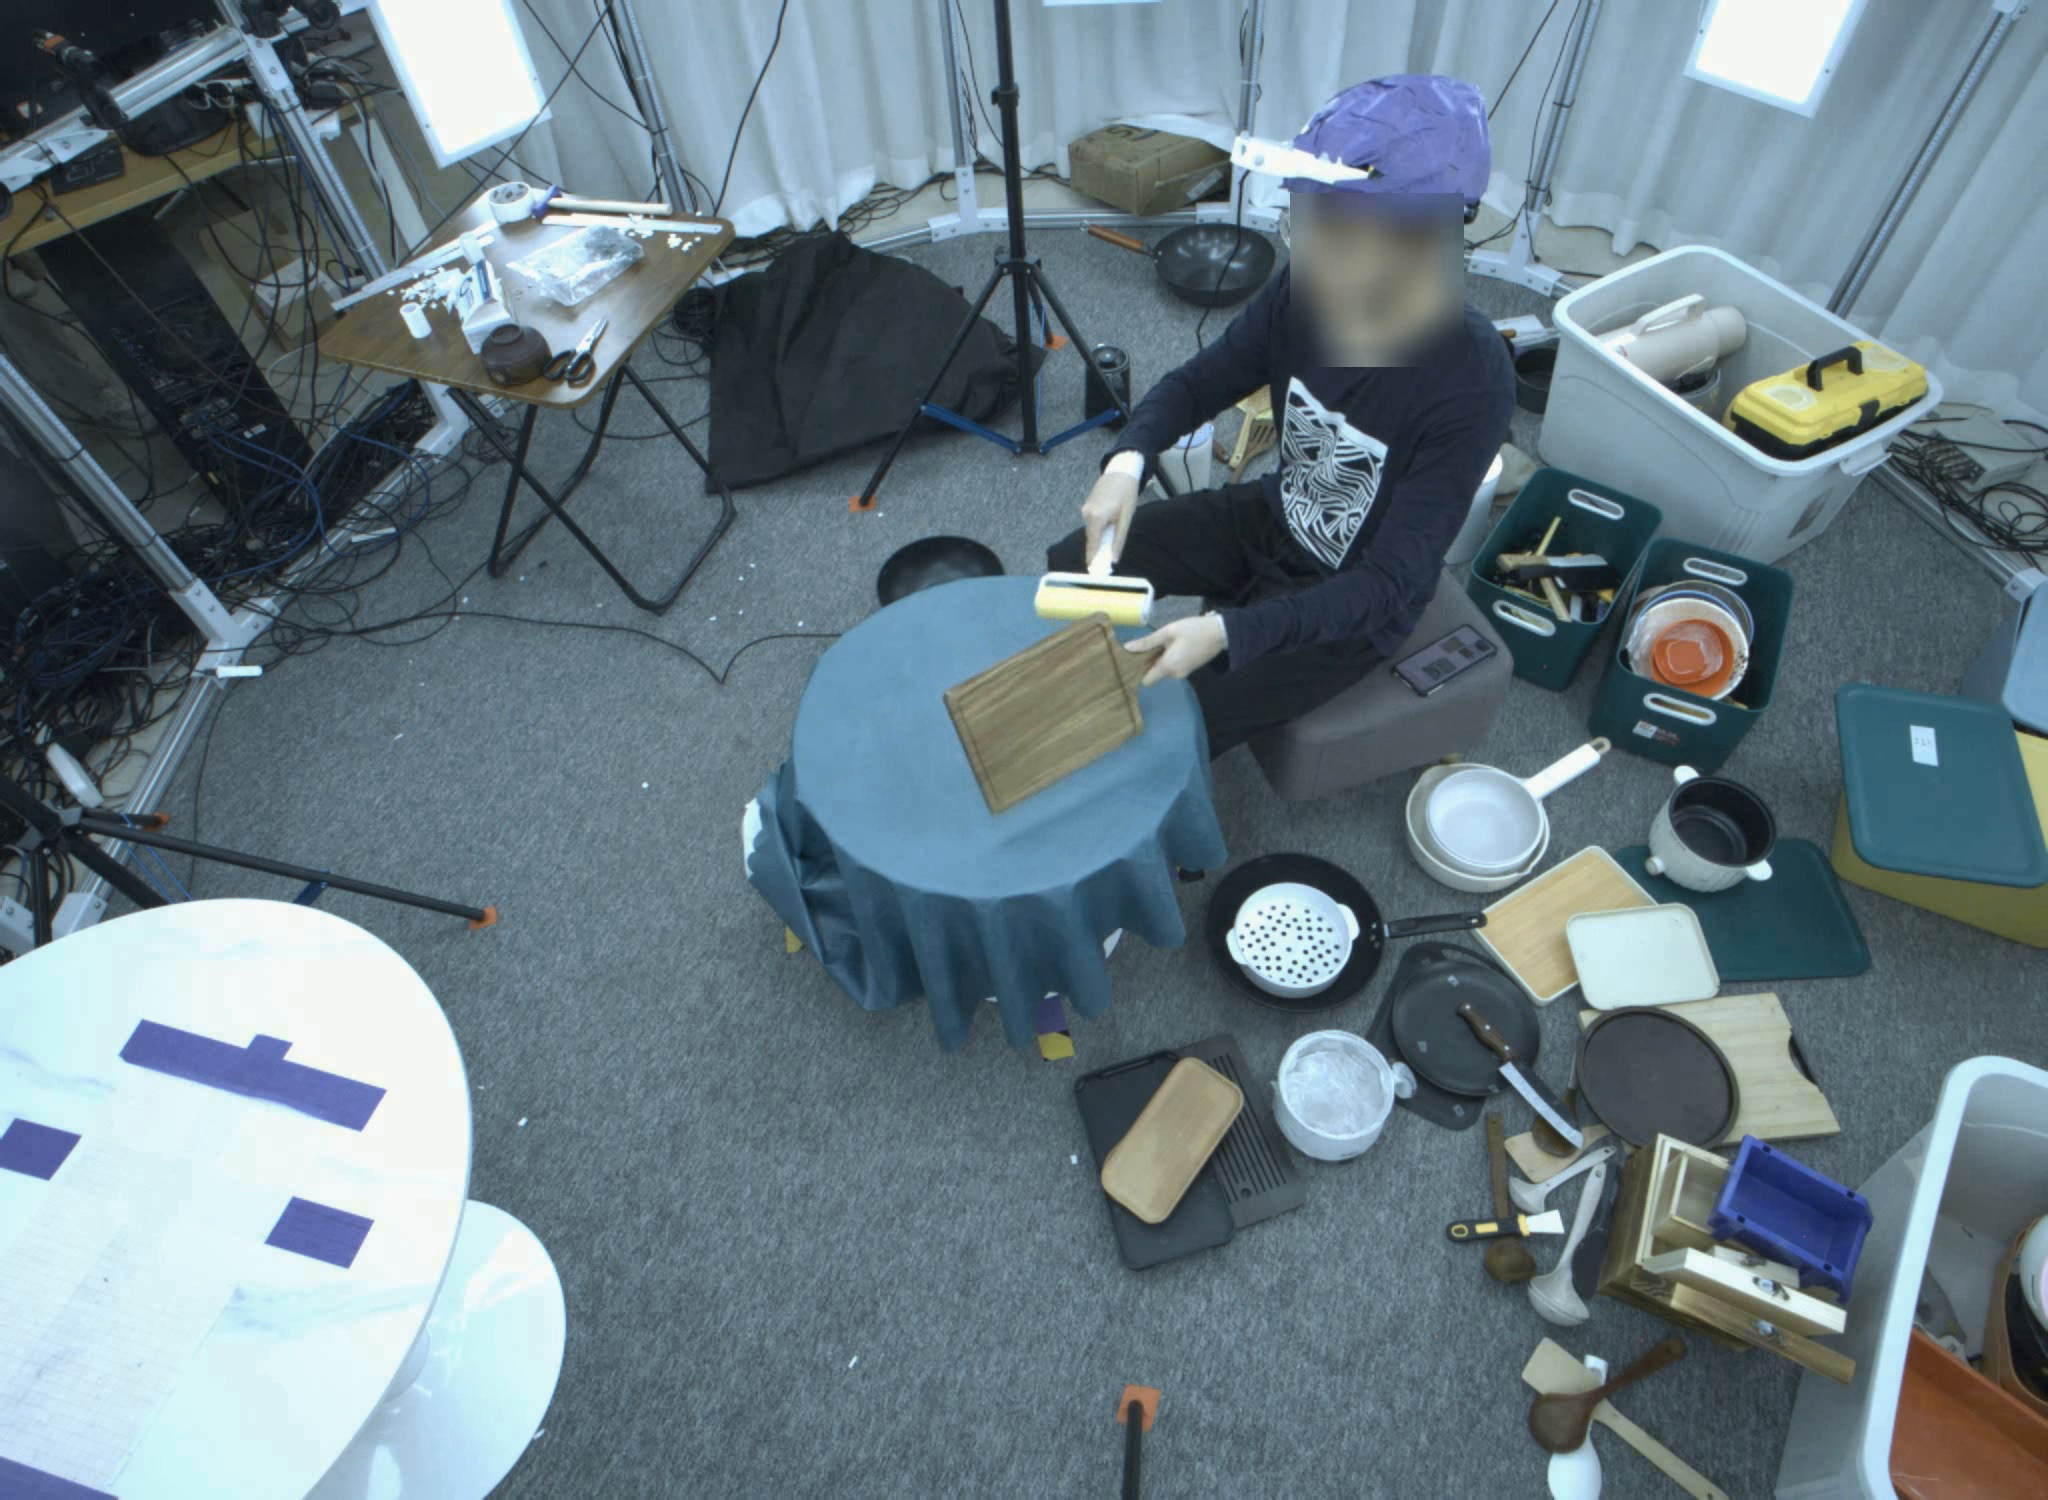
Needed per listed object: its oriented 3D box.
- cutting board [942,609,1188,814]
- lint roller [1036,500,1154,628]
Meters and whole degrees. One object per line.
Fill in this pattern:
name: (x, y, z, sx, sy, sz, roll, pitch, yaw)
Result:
cutting board: (0.074, -0.073, 1.671, 0.354, 0.204, 0.023, -29, 32, -15)
lint roller: (0.110, -0.277, 1.793, 0.172, 0.052, 0.192, 6, 88, 18)
